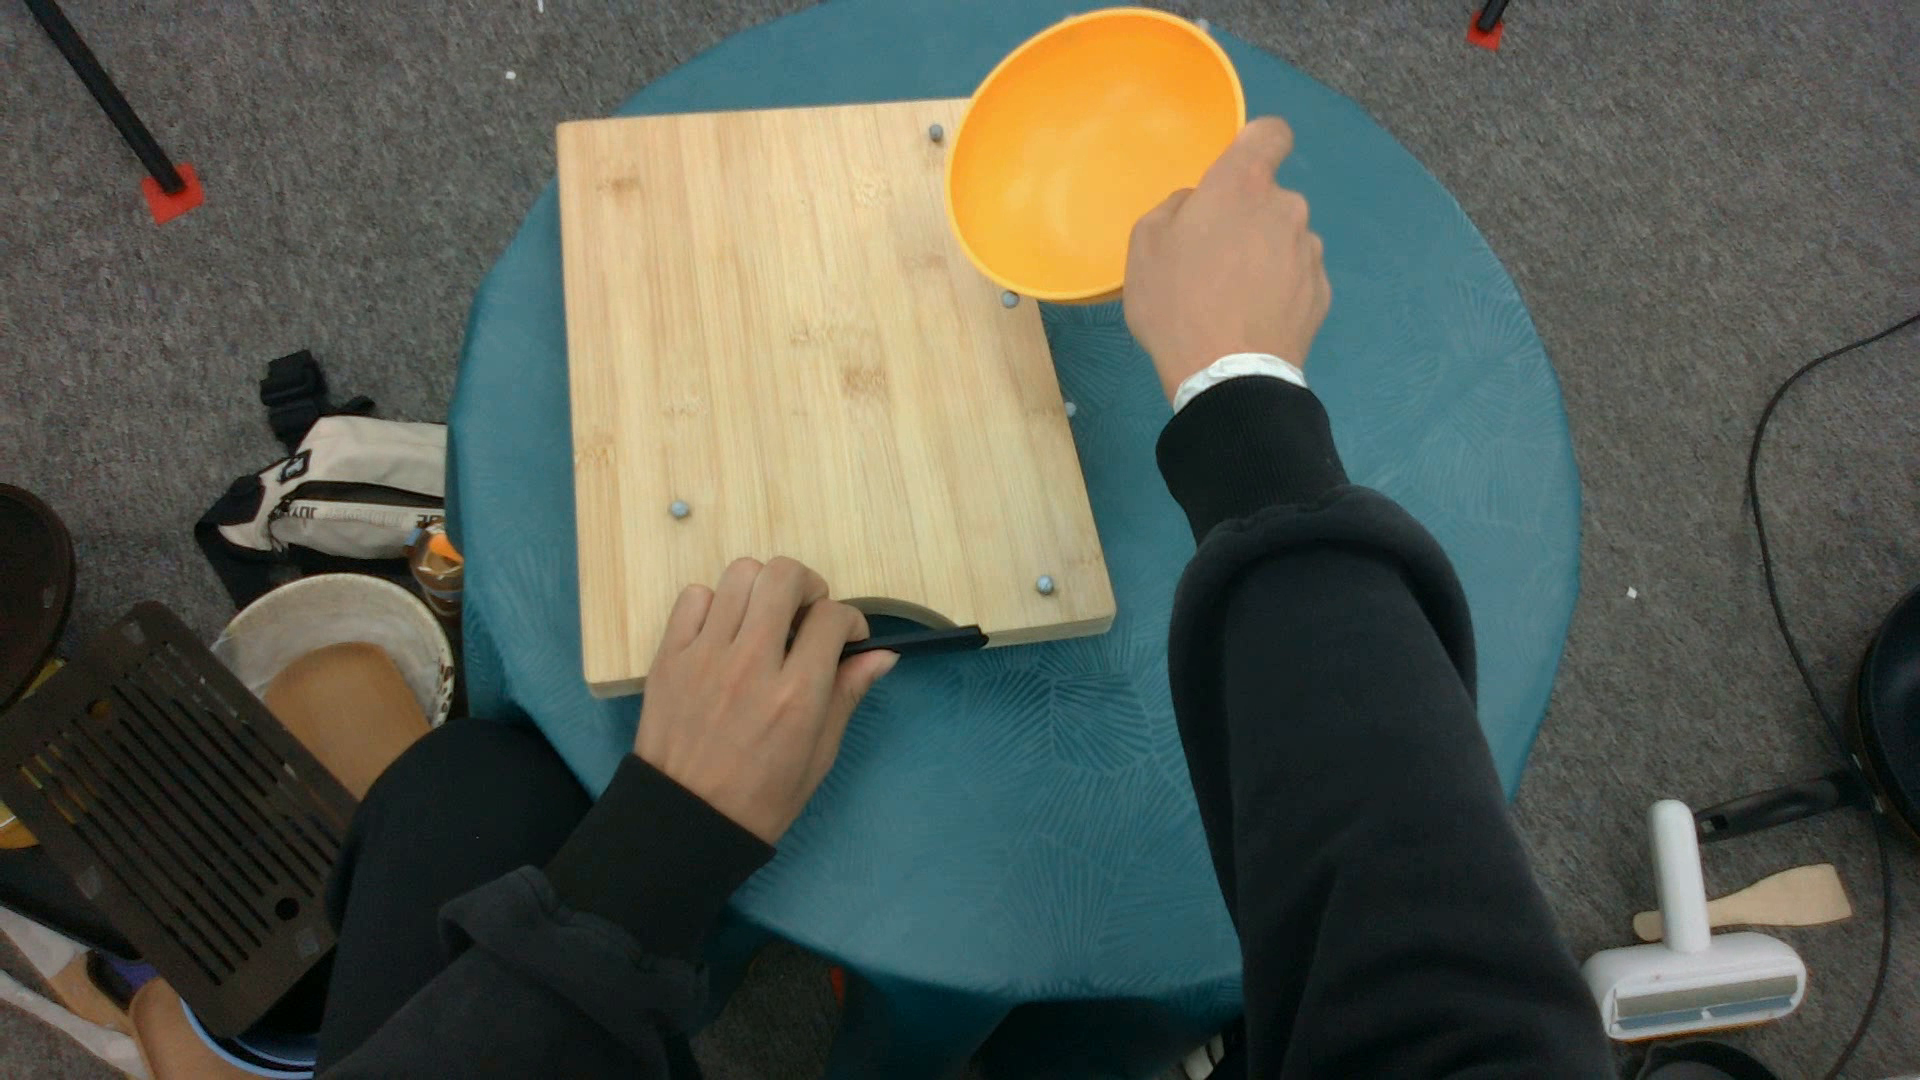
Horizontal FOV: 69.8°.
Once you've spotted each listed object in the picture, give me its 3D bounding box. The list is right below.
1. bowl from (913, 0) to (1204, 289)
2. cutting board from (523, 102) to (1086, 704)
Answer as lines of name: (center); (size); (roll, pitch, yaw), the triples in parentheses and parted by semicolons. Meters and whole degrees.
bowl: (0.054, -0.178, 0.657); (0.145, 0.060, 0.145); (-7, 72, 24)
cutting board: (-0.092, -0.092, 0.699); (0.251, 0.023, 0.350); (-7, 61, -11)
